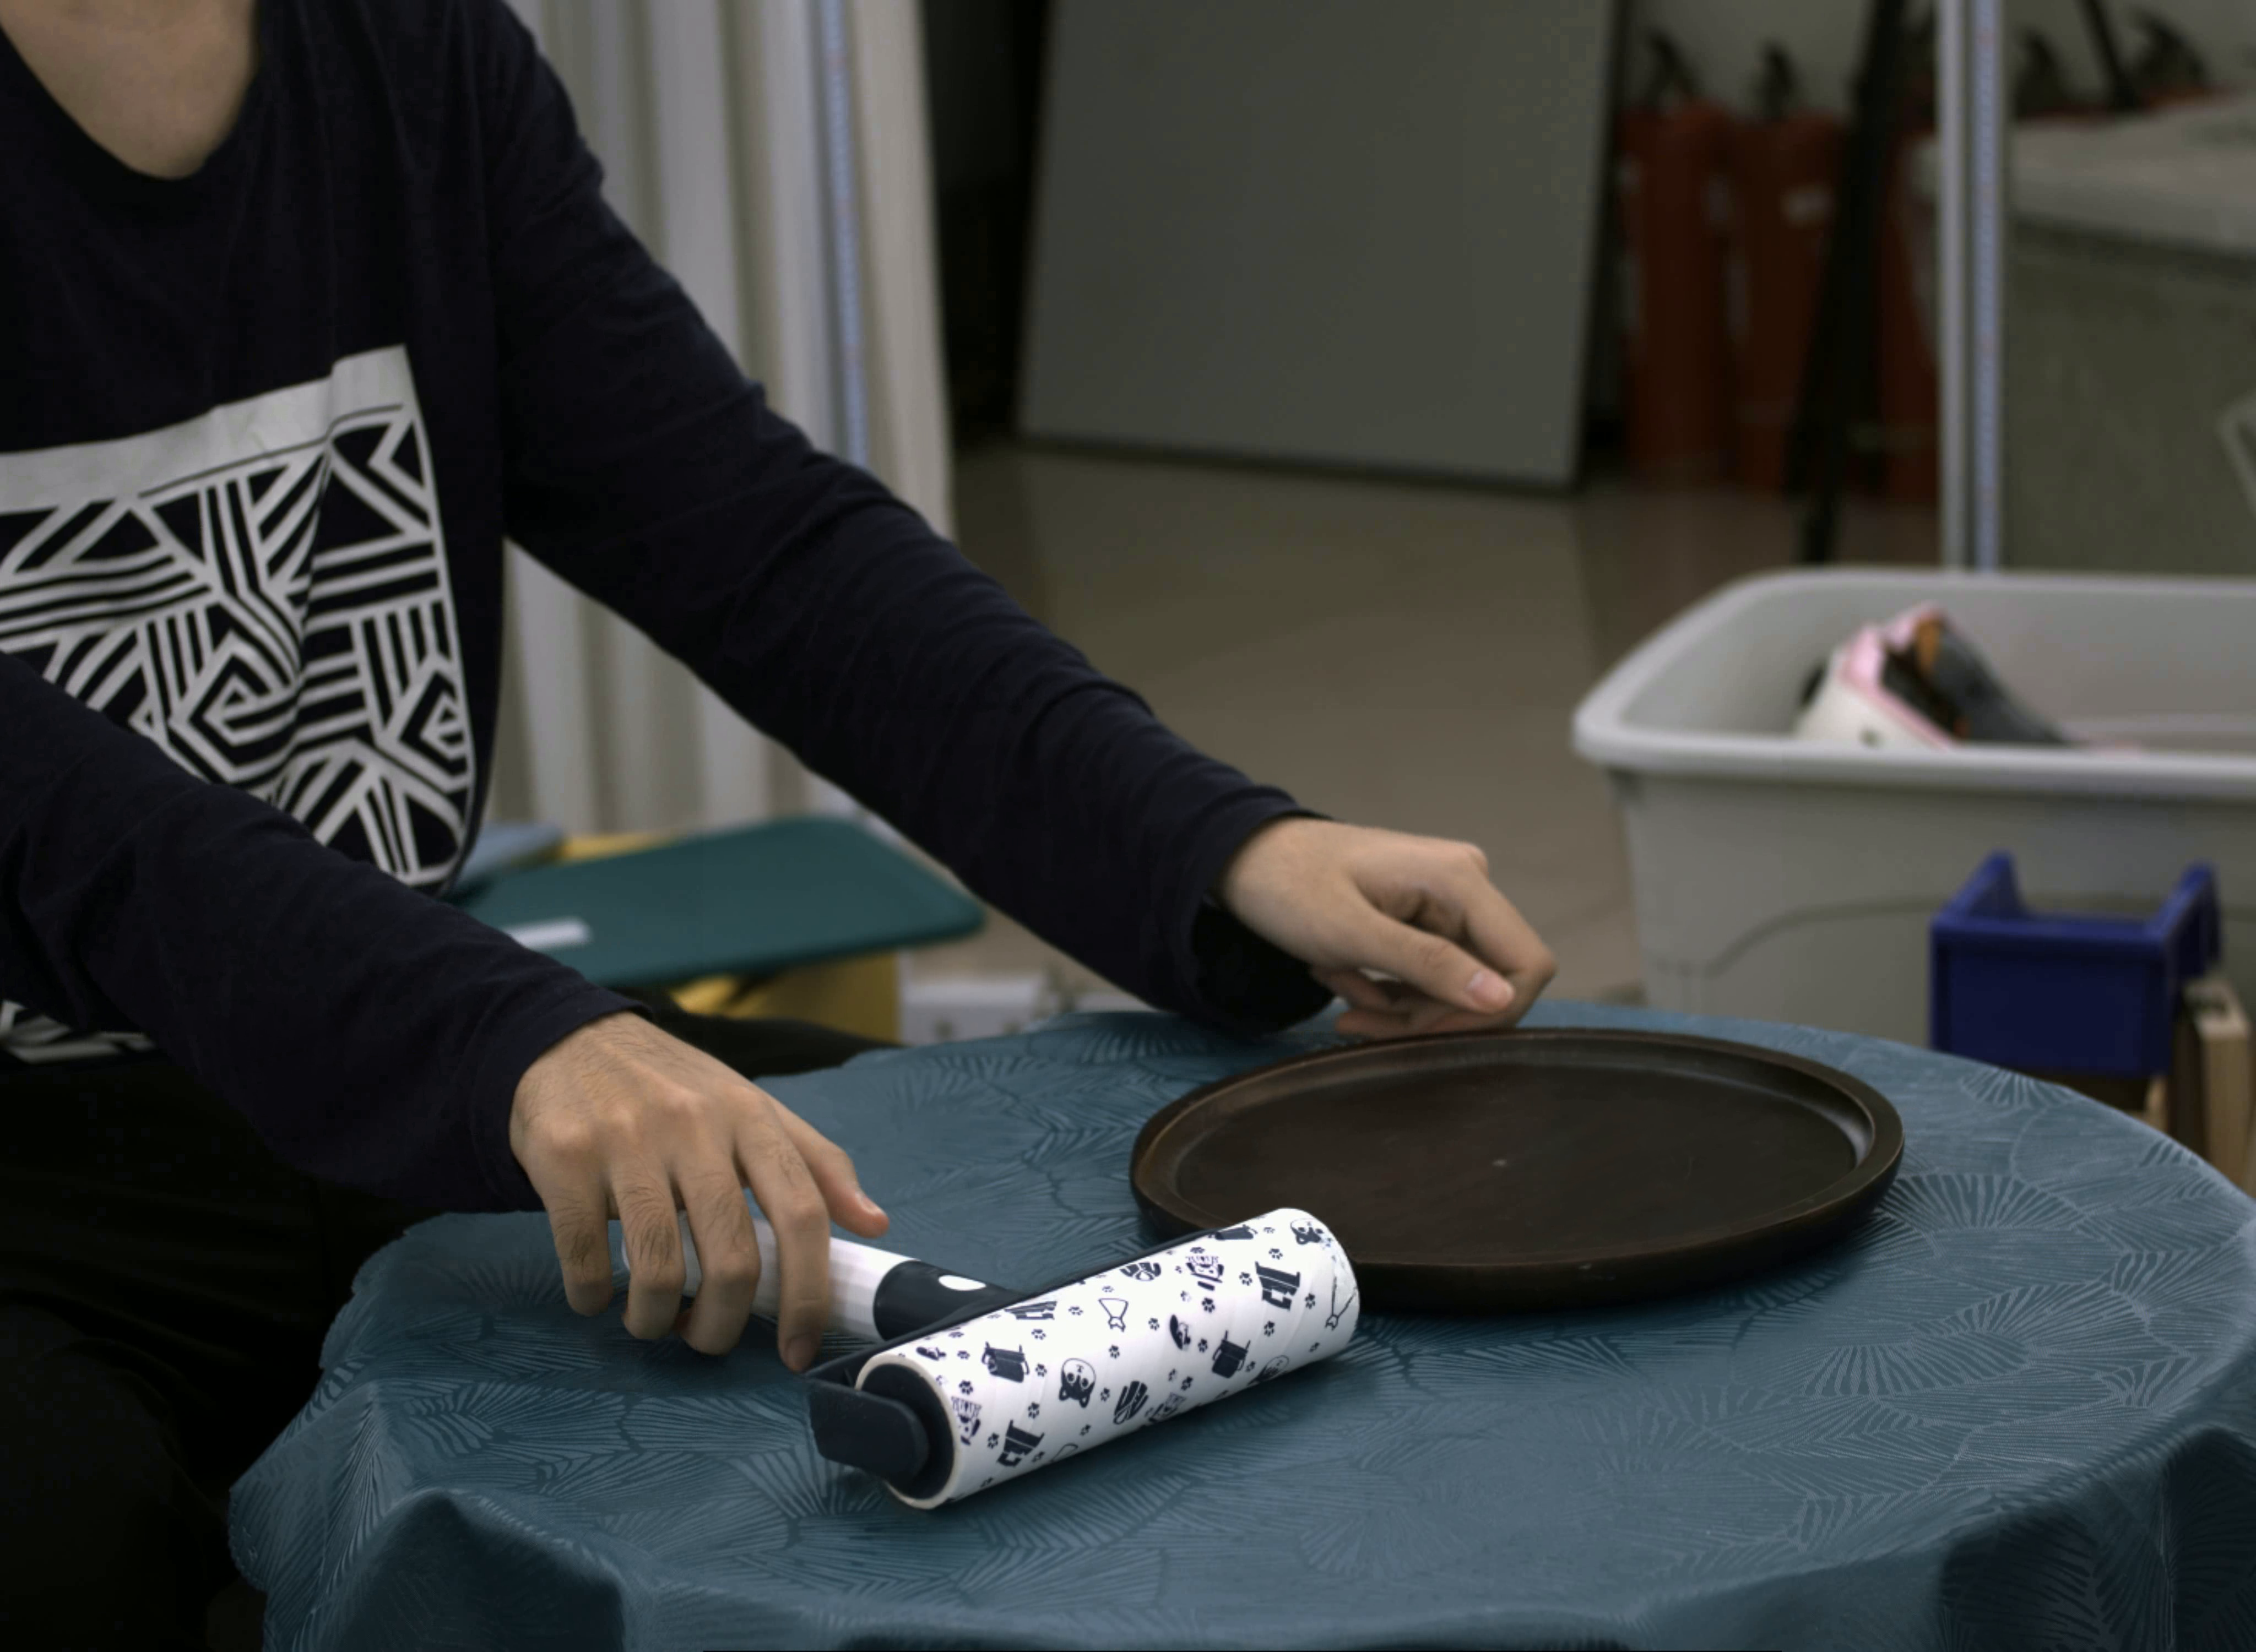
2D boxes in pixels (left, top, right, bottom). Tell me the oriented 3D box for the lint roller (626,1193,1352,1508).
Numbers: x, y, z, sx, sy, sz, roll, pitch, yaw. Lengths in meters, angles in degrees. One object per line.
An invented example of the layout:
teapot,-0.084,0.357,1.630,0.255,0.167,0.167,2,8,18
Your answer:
lint roller,-0.074,0.142,1.625,0.172,0.051,0.249,-17,16,-40

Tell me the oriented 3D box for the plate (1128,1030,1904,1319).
plate,0.125,0.111,1.736,0.251,0.029,0.255,-5,12,0
